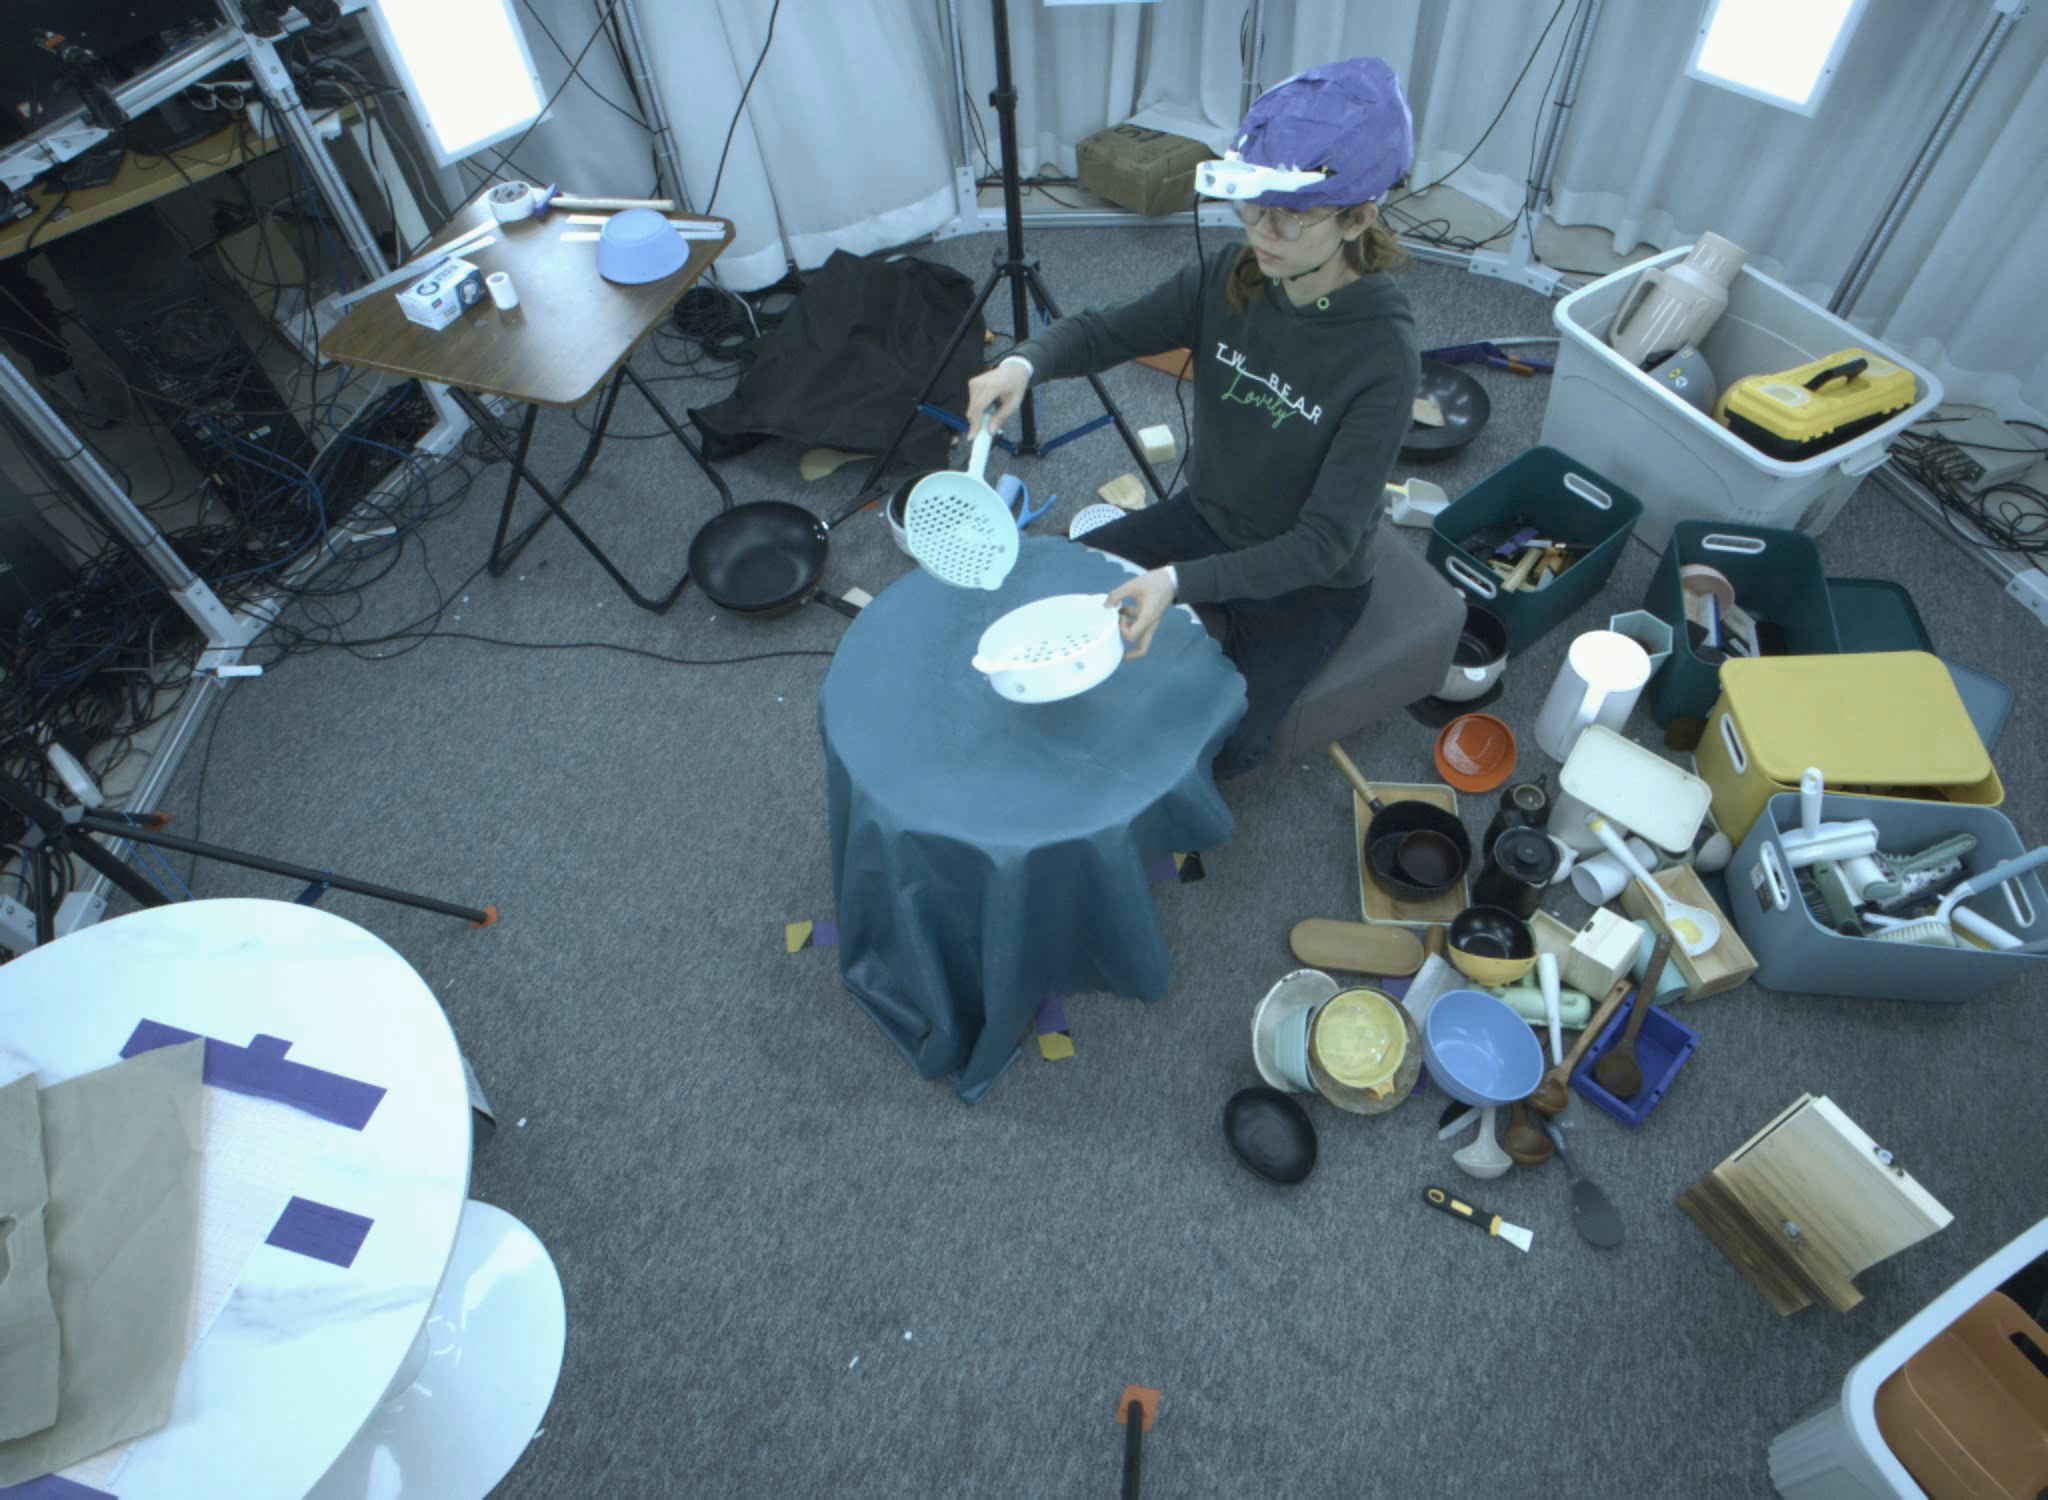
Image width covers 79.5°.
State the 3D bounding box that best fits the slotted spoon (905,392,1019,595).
[{"bbox_3d":[-0.072,-0.375,1.697,0.173,0.074,0.357,23,71,-26],"label":"slotted spoon"}]

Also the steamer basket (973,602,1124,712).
[{"bbox_3d":[0.040,-0.130,1.725,0.232,0.070,0.197,-30,35,-19],"label":"steamer basket"}]
